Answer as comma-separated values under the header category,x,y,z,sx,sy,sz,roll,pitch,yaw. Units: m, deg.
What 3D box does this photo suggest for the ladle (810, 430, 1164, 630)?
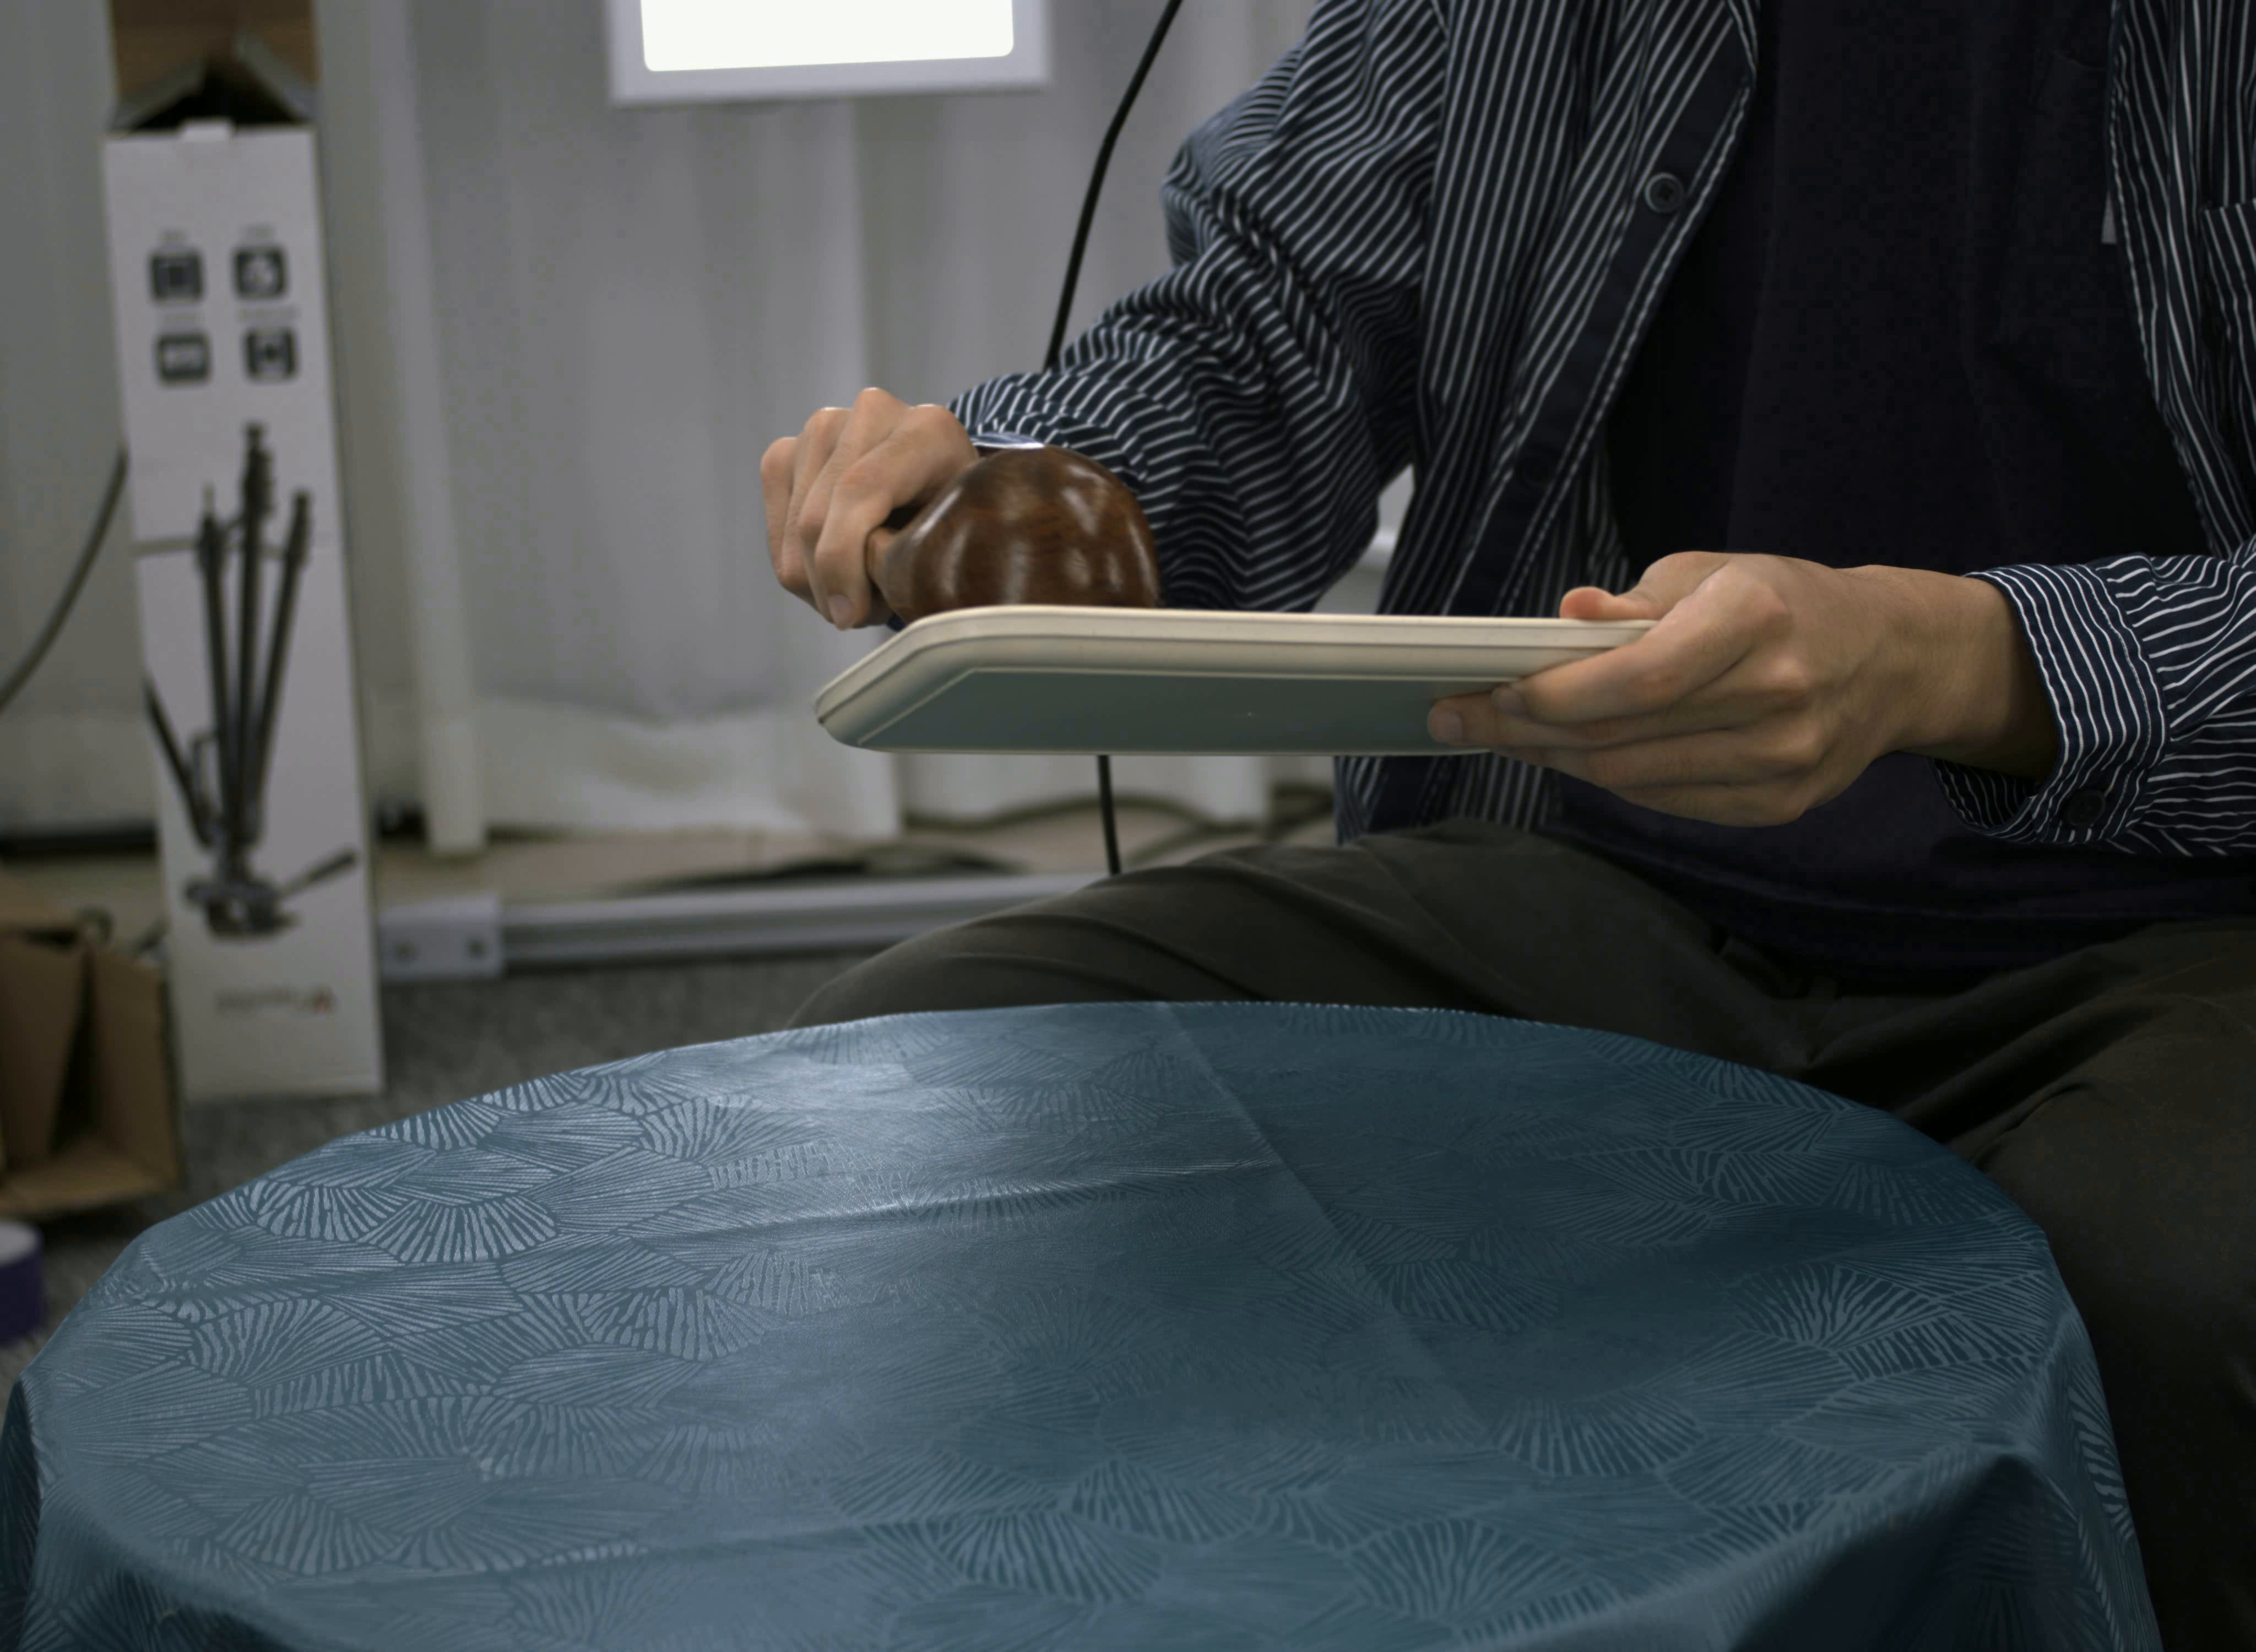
category,x,y,z,sx,sy,sz,roll,pitch,yaw
ladle,-0.047,-0.083,1.727,0.076,0.082,0.275,8,2,-10

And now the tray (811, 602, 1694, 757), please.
category,x,y,z,sx,sy,sz,roll,pitch,yaw
tray,0.035,-0.041,1.626,0.238,0.017,0.171,0,-9,-17
